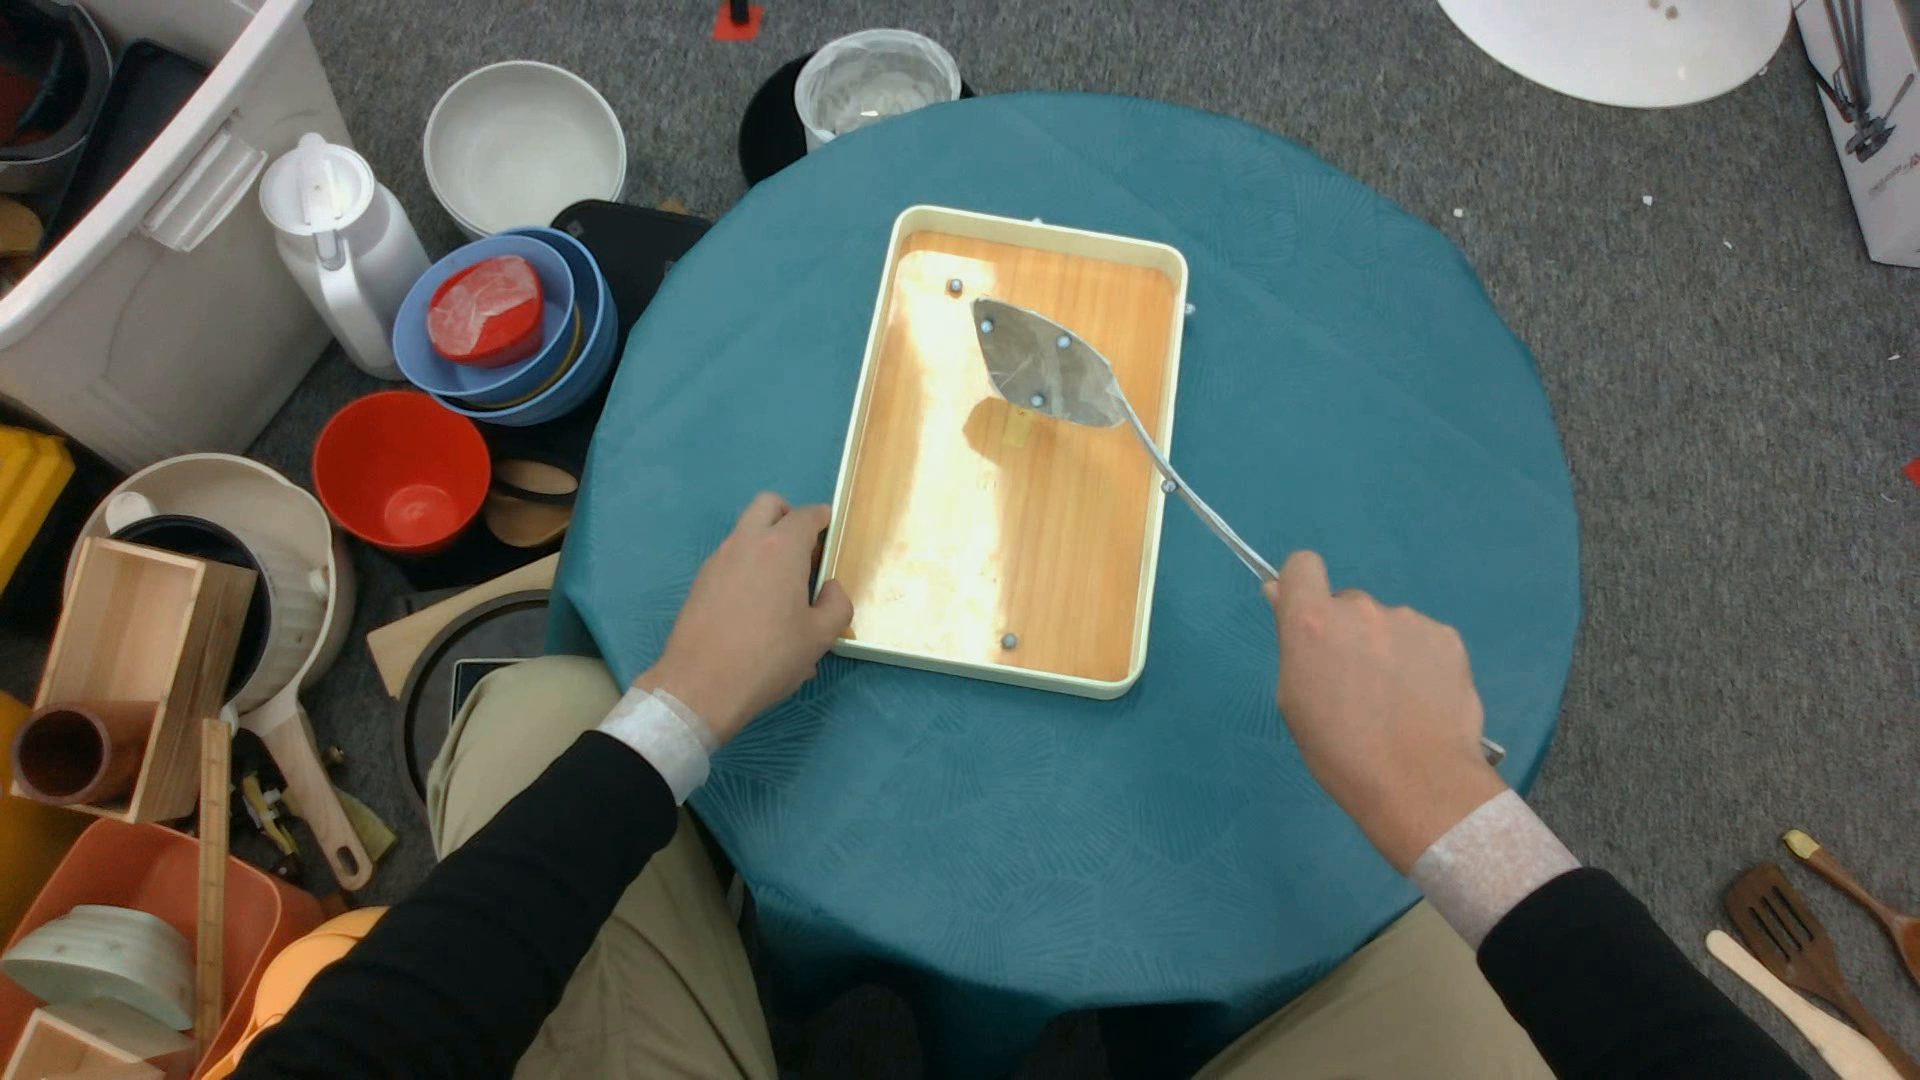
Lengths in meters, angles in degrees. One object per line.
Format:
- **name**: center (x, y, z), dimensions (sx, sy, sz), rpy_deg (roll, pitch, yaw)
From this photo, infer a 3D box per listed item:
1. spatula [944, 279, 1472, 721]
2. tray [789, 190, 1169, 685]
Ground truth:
- **spatula**: center (0.115, -0.024, 0.725), dimensions (0.045, 0.098, 0.365), rpy_deg (-34, 58, -14)
- **tray**: center (0.018, -0.070, 0.829), dimensions (0.191, 0.027, 0.301), rpy_deg (10, 67, 0)
